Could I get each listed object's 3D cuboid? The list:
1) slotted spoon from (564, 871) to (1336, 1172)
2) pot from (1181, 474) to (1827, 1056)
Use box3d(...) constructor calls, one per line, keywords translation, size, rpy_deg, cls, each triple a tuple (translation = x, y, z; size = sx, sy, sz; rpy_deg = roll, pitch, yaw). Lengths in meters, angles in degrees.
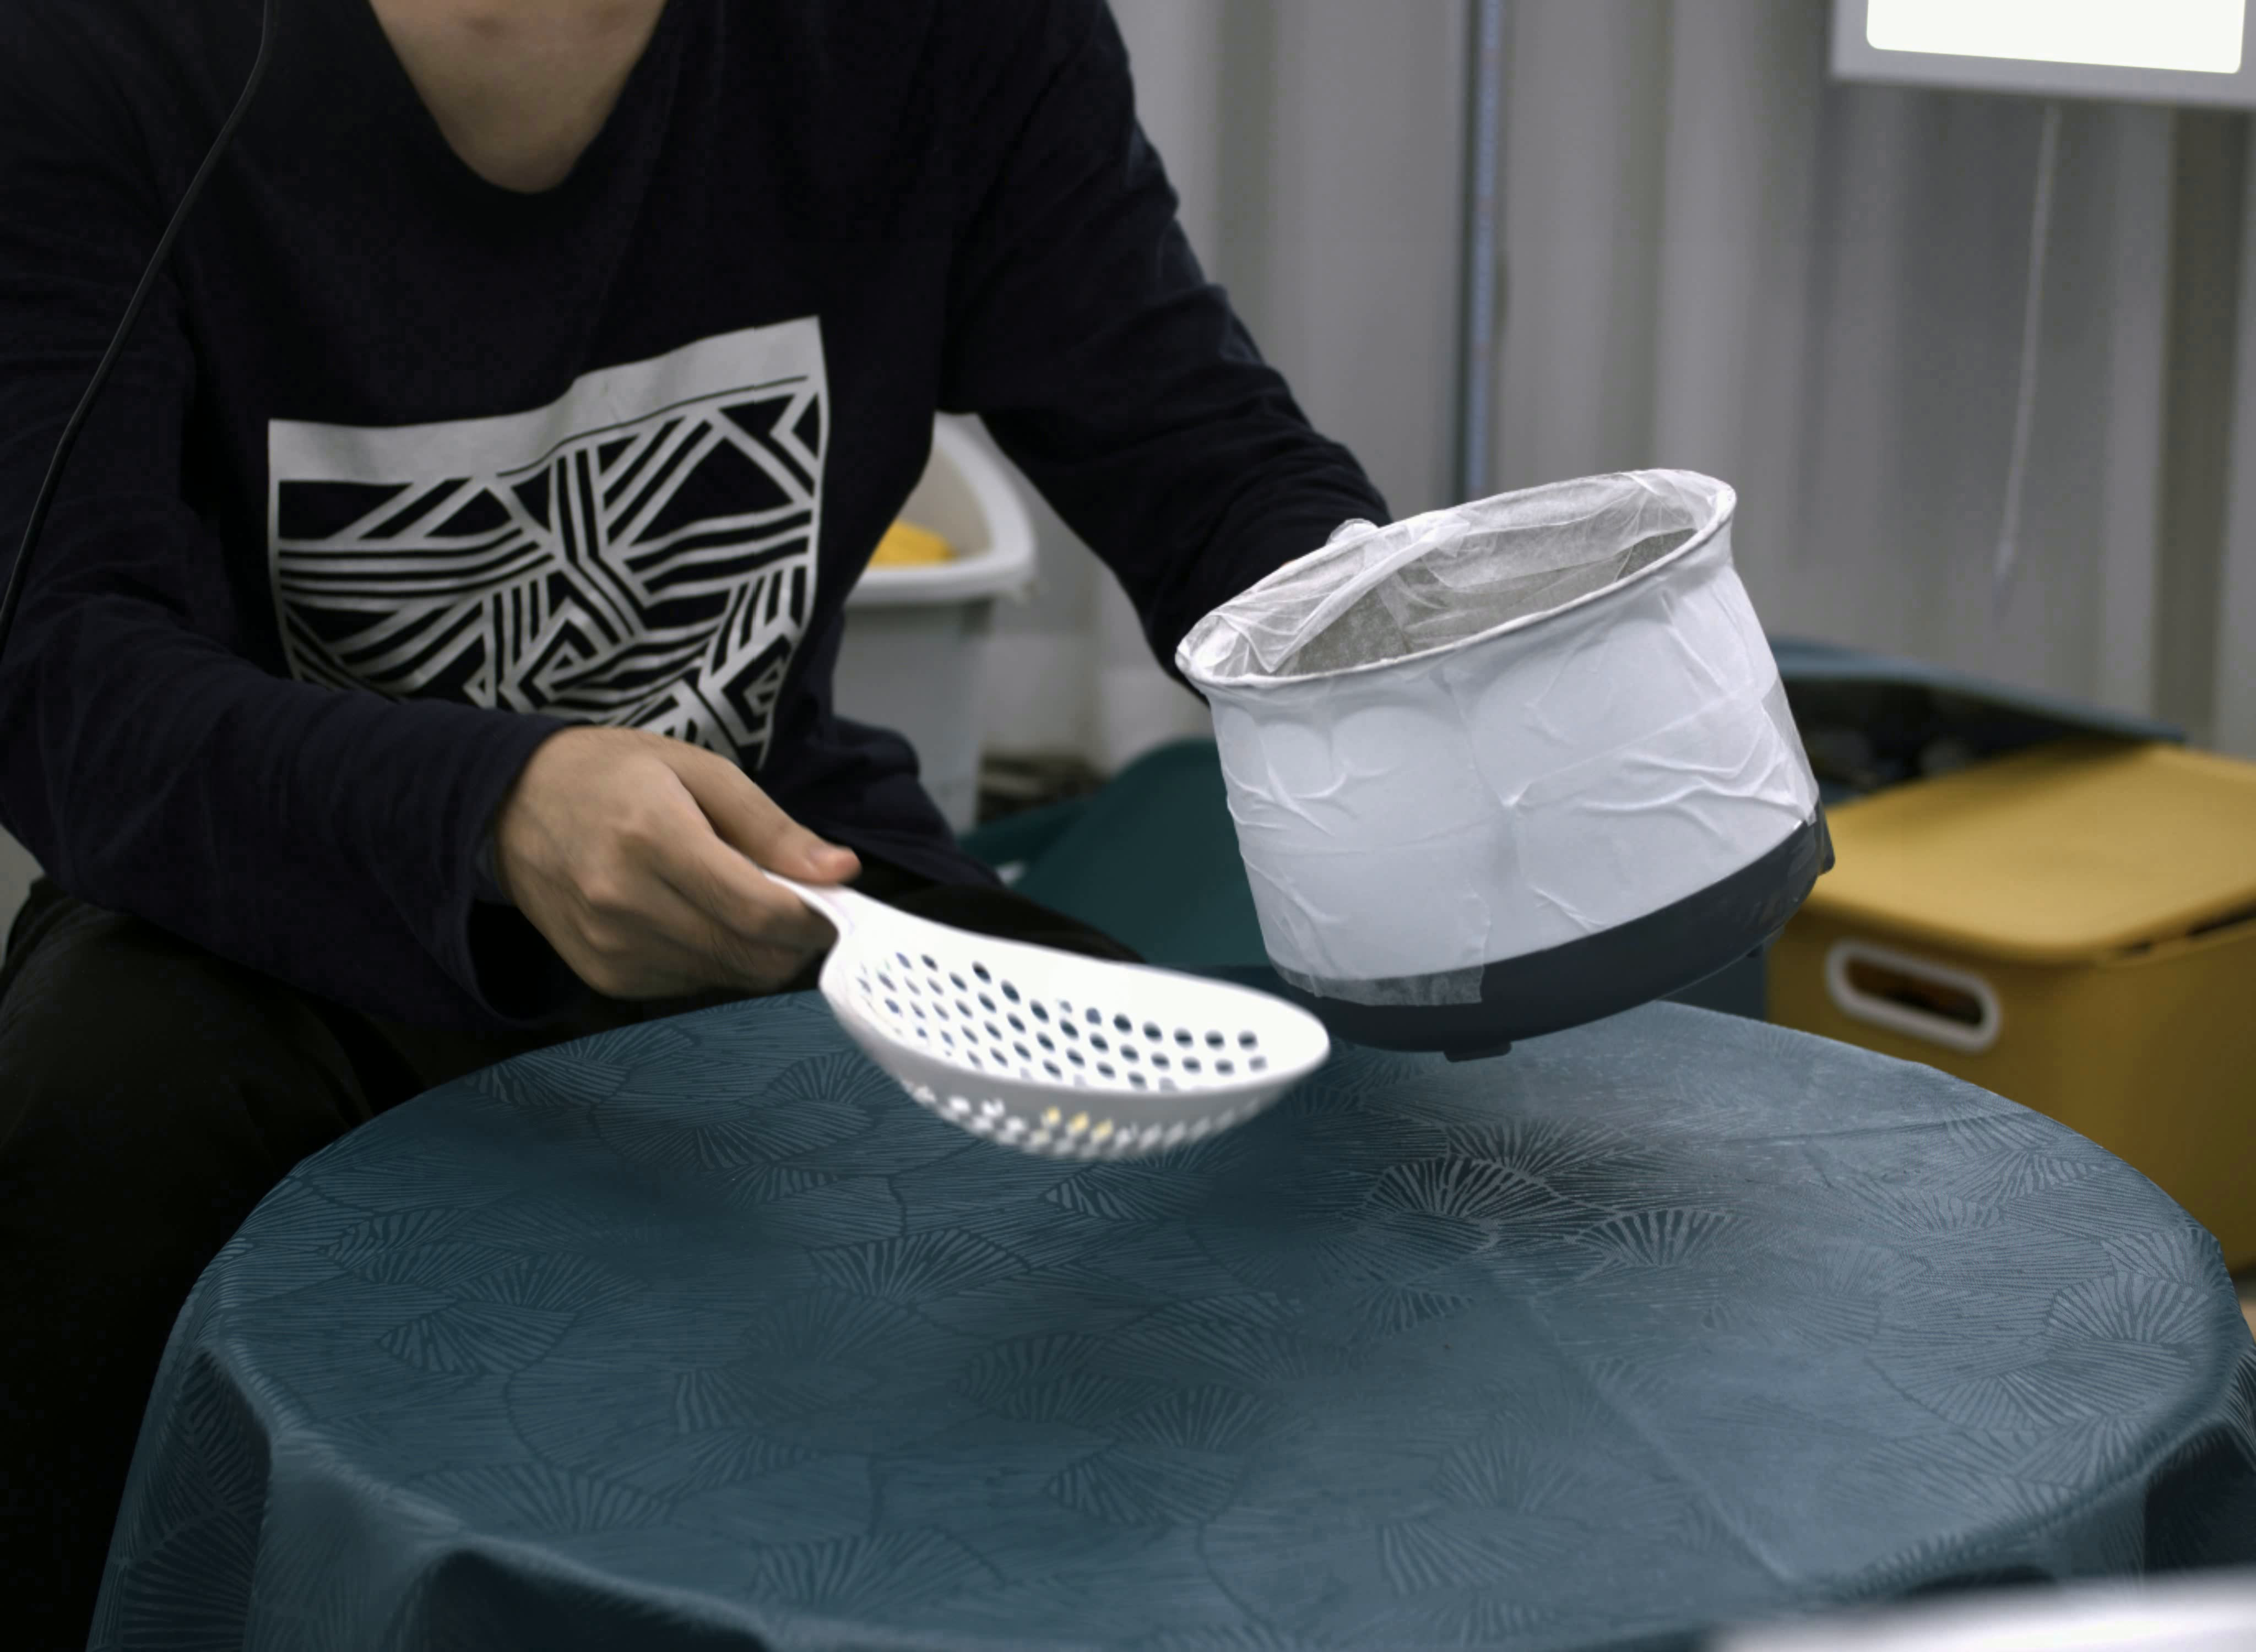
box3d(translation=(-0.073, 0.043, 1.540), size=(0.137, 0.050, 0.343), rpy_deg=(-3, 18, -33), cls="slotted spoon")
box3d(translation=(0.108, -0.024, 1.636), size=(0.179, 0.138, 0.231), rpy_deg=(-18, 15, -14), cls="pot")
